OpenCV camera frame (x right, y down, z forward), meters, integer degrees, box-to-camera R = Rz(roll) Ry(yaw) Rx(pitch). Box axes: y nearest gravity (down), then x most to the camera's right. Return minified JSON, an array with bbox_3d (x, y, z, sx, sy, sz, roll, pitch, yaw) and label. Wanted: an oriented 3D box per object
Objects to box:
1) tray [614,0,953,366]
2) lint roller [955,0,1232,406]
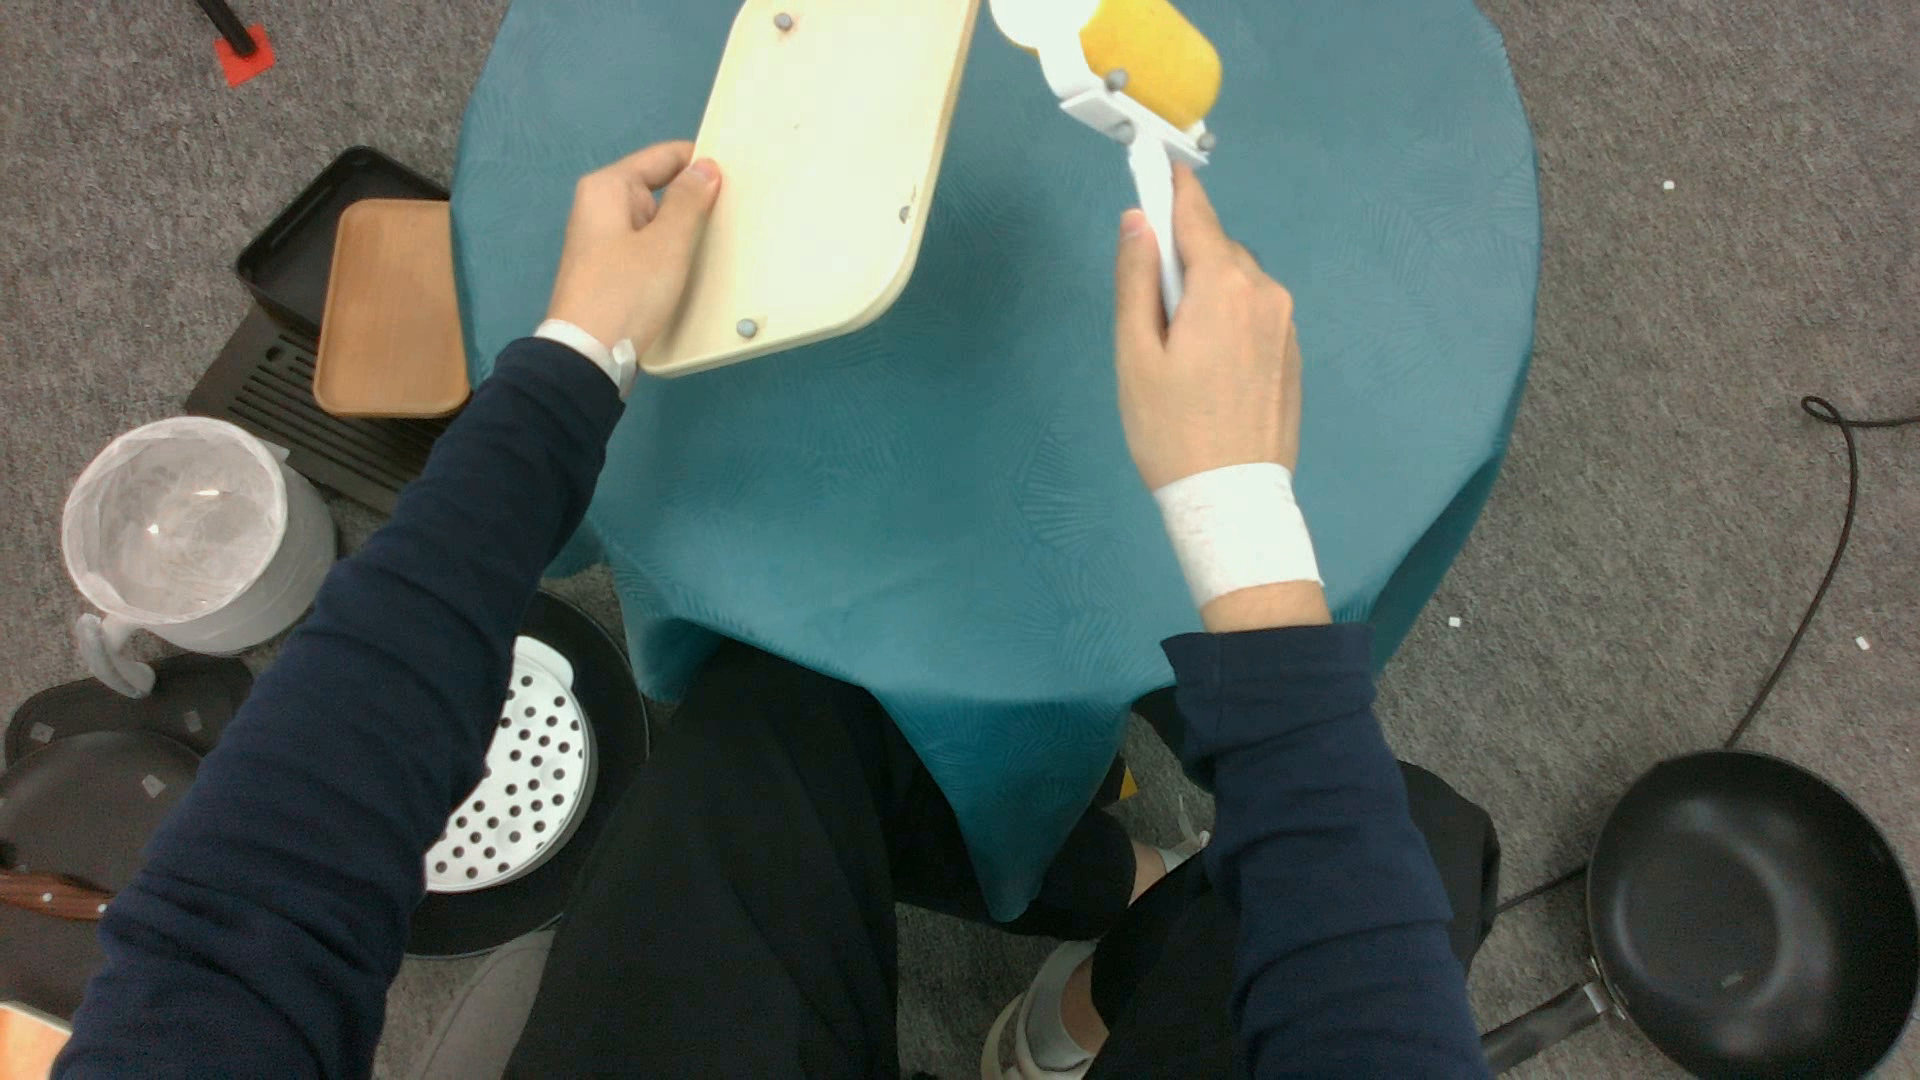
[{"bbox_3d":[-0.074,-0.191,0.622,0.171,0.017,0.240,-8,61,39],"label":"tray"},{"bbox_3d":[0.082,-0.151,0.574,0.051,0.175,0.192,-29,84,24],"label":"lint roller"}]
